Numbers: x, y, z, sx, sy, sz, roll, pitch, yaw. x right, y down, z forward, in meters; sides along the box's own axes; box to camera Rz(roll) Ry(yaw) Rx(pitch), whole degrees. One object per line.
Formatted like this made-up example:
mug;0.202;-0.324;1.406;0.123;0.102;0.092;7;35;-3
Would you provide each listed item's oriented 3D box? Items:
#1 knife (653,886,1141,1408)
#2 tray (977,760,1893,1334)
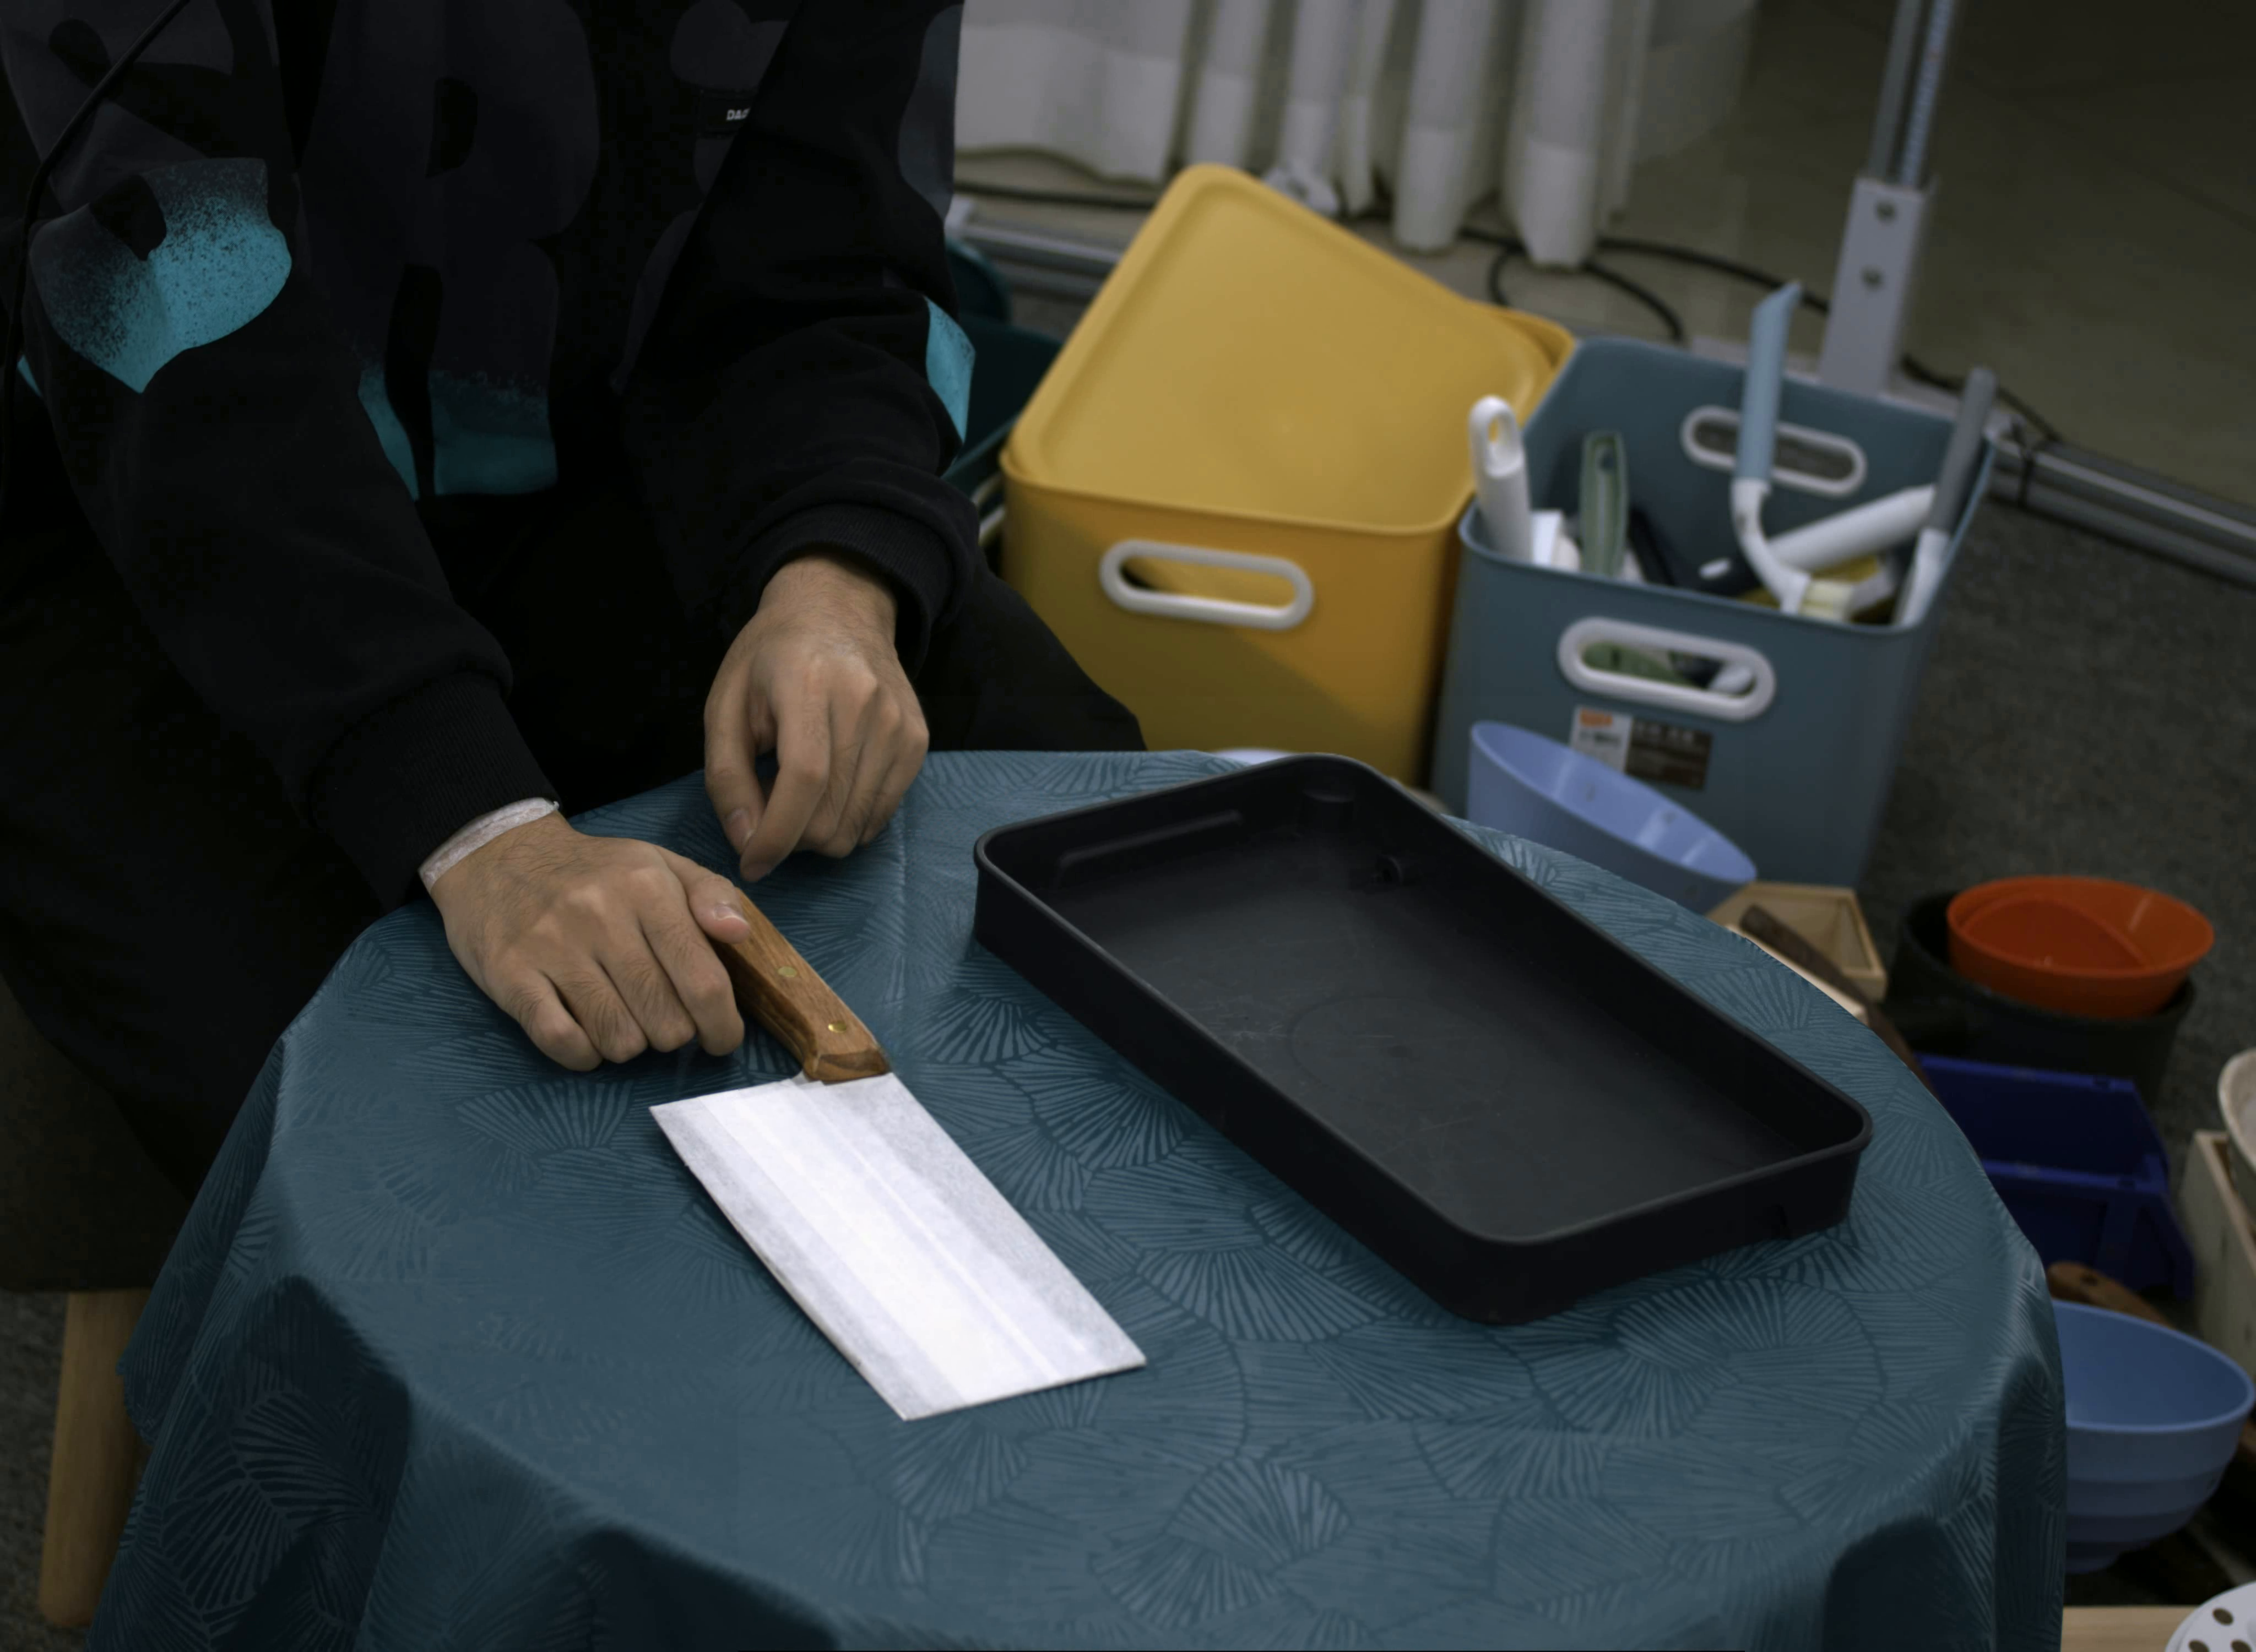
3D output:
knife;-0.105;0.106;1.797;0.092;0.021;0.308;-11;34;-28
tray;0.102;0.072;1.887;0.183;0.037;0.321;-15;34;-35
